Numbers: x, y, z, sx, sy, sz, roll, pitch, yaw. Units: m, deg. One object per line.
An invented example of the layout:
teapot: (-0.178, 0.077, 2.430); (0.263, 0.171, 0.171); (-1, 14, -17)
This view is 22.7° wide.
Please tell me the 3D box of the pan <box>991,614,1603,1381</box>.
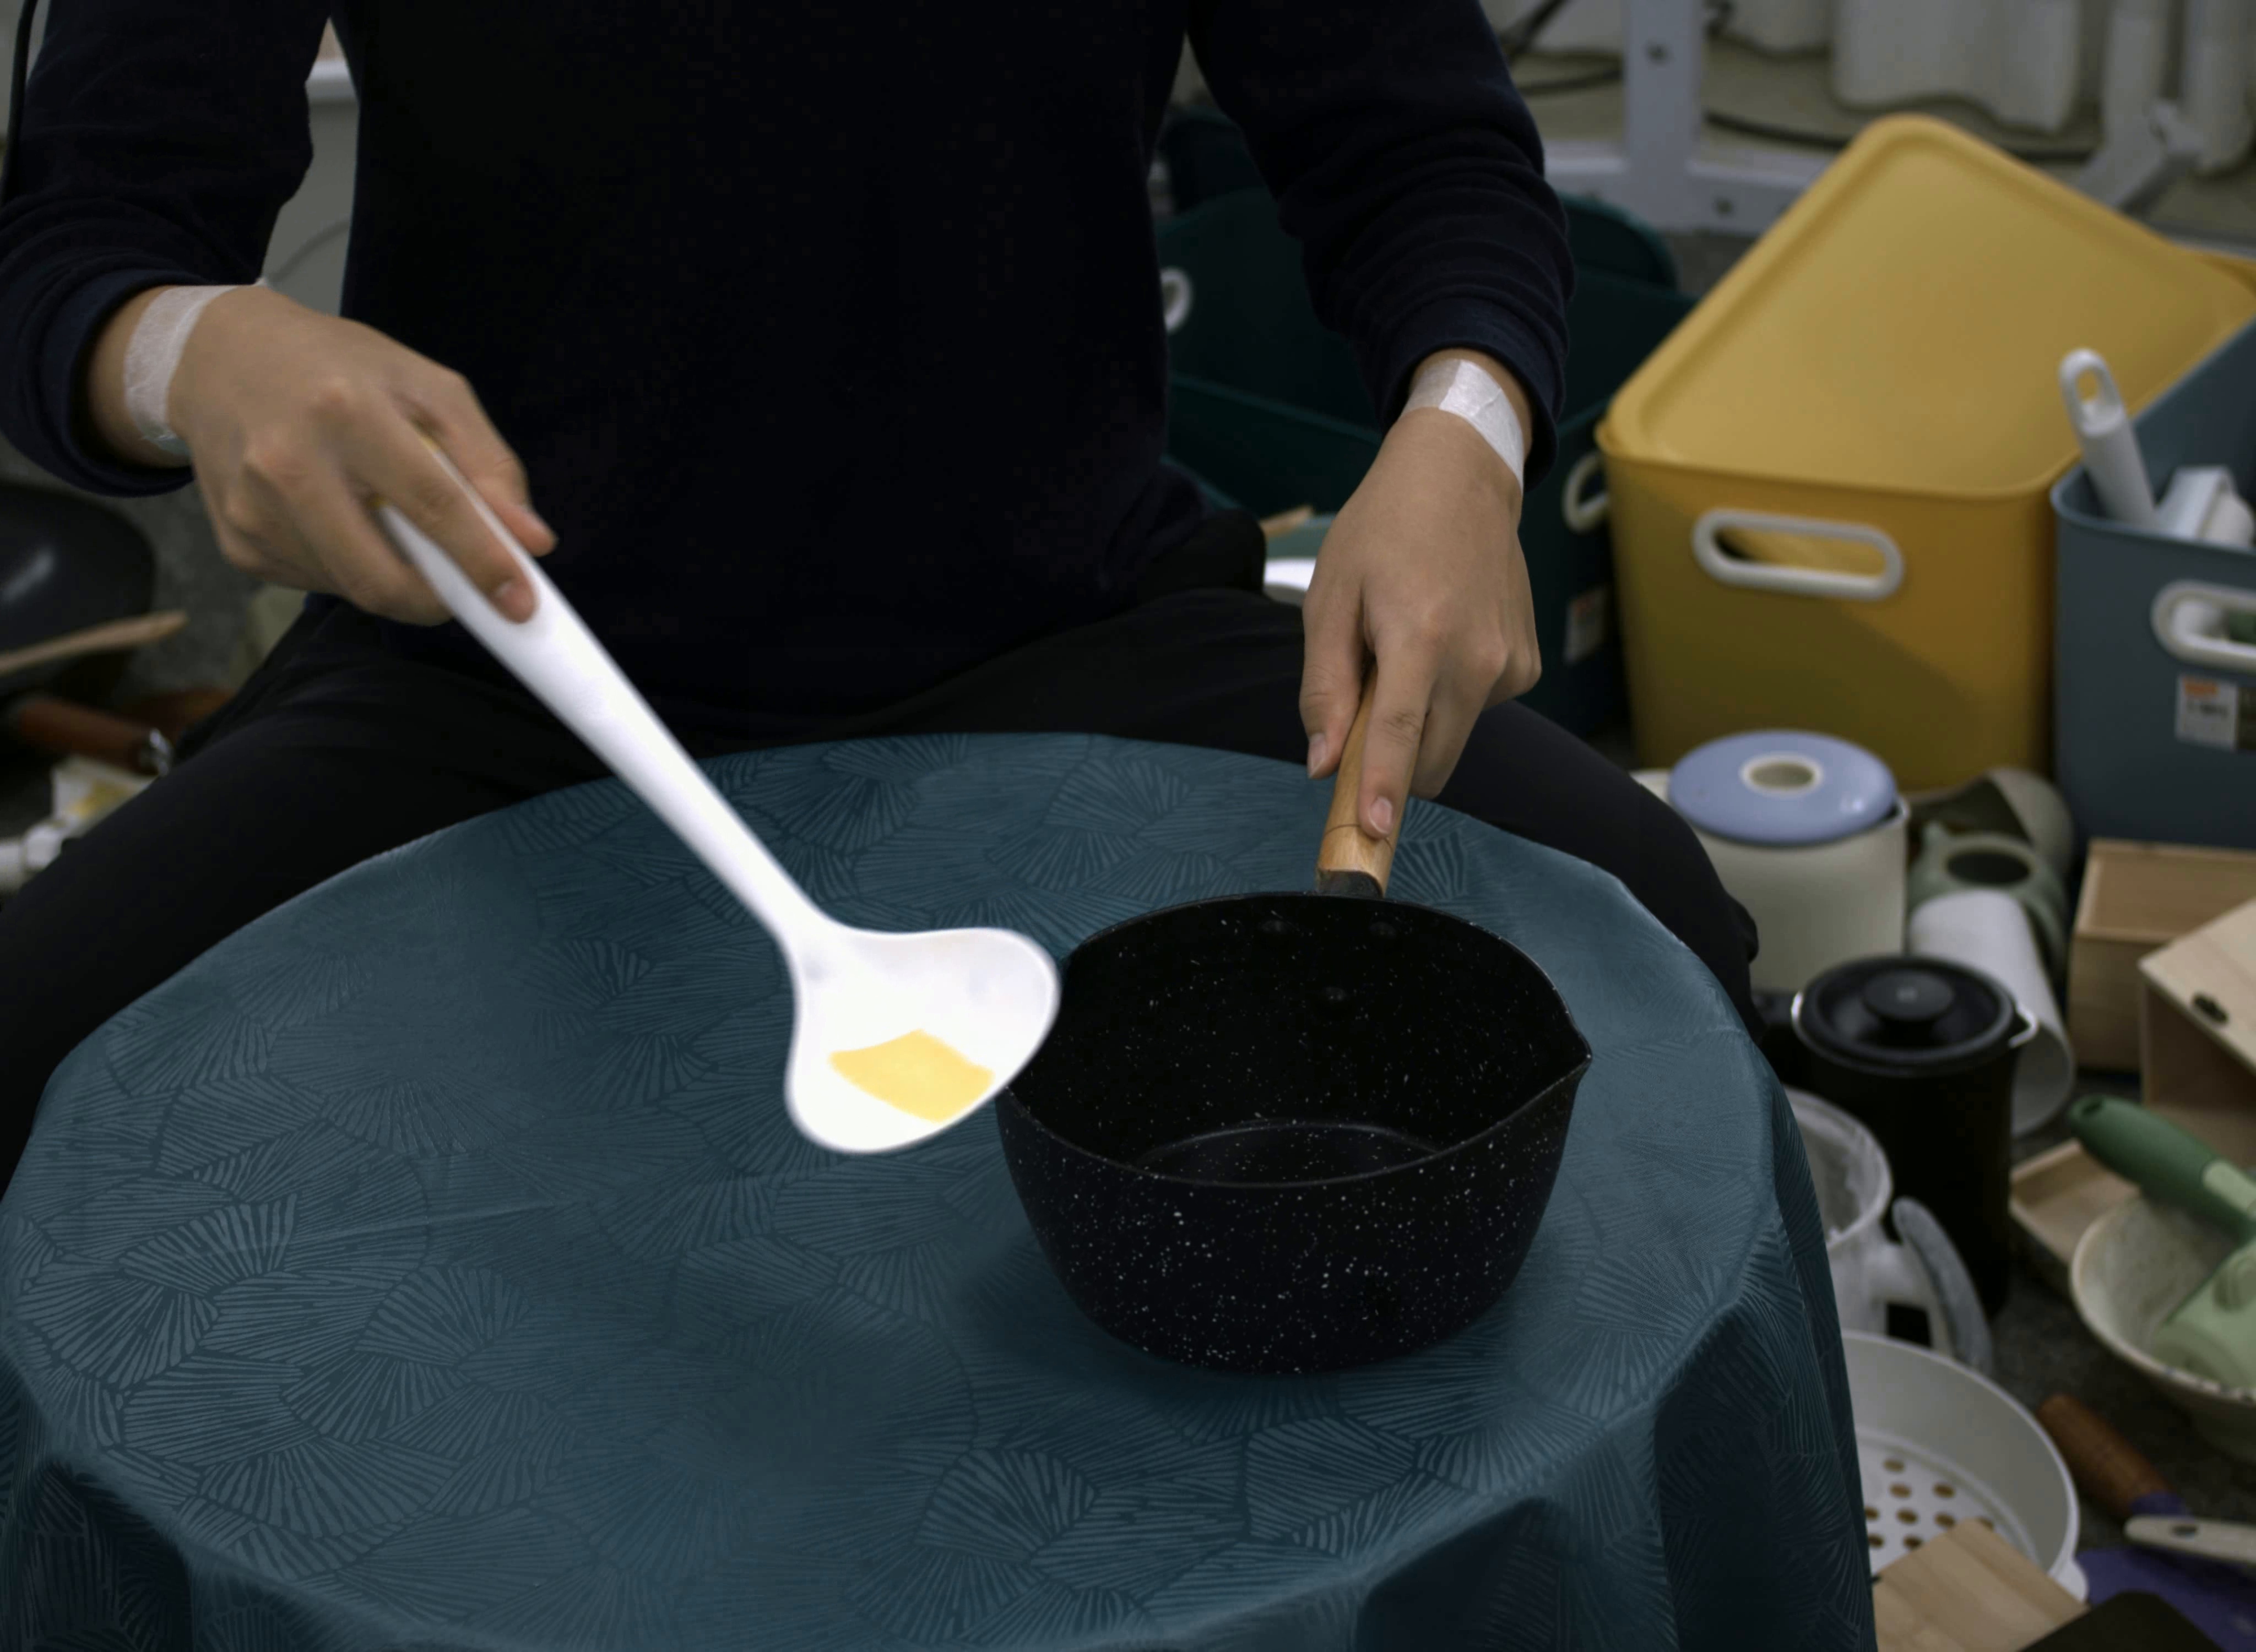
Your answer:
pan: (0.065, 0.053, 1.870); (0.206, 0.107, 0.349); (2, 29, 11)

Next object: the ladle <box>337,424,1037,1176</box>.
ladle: (-0.142, -0.013, 1.723); (0.090, 0.069, 0.294); (-41, 79, -6)
